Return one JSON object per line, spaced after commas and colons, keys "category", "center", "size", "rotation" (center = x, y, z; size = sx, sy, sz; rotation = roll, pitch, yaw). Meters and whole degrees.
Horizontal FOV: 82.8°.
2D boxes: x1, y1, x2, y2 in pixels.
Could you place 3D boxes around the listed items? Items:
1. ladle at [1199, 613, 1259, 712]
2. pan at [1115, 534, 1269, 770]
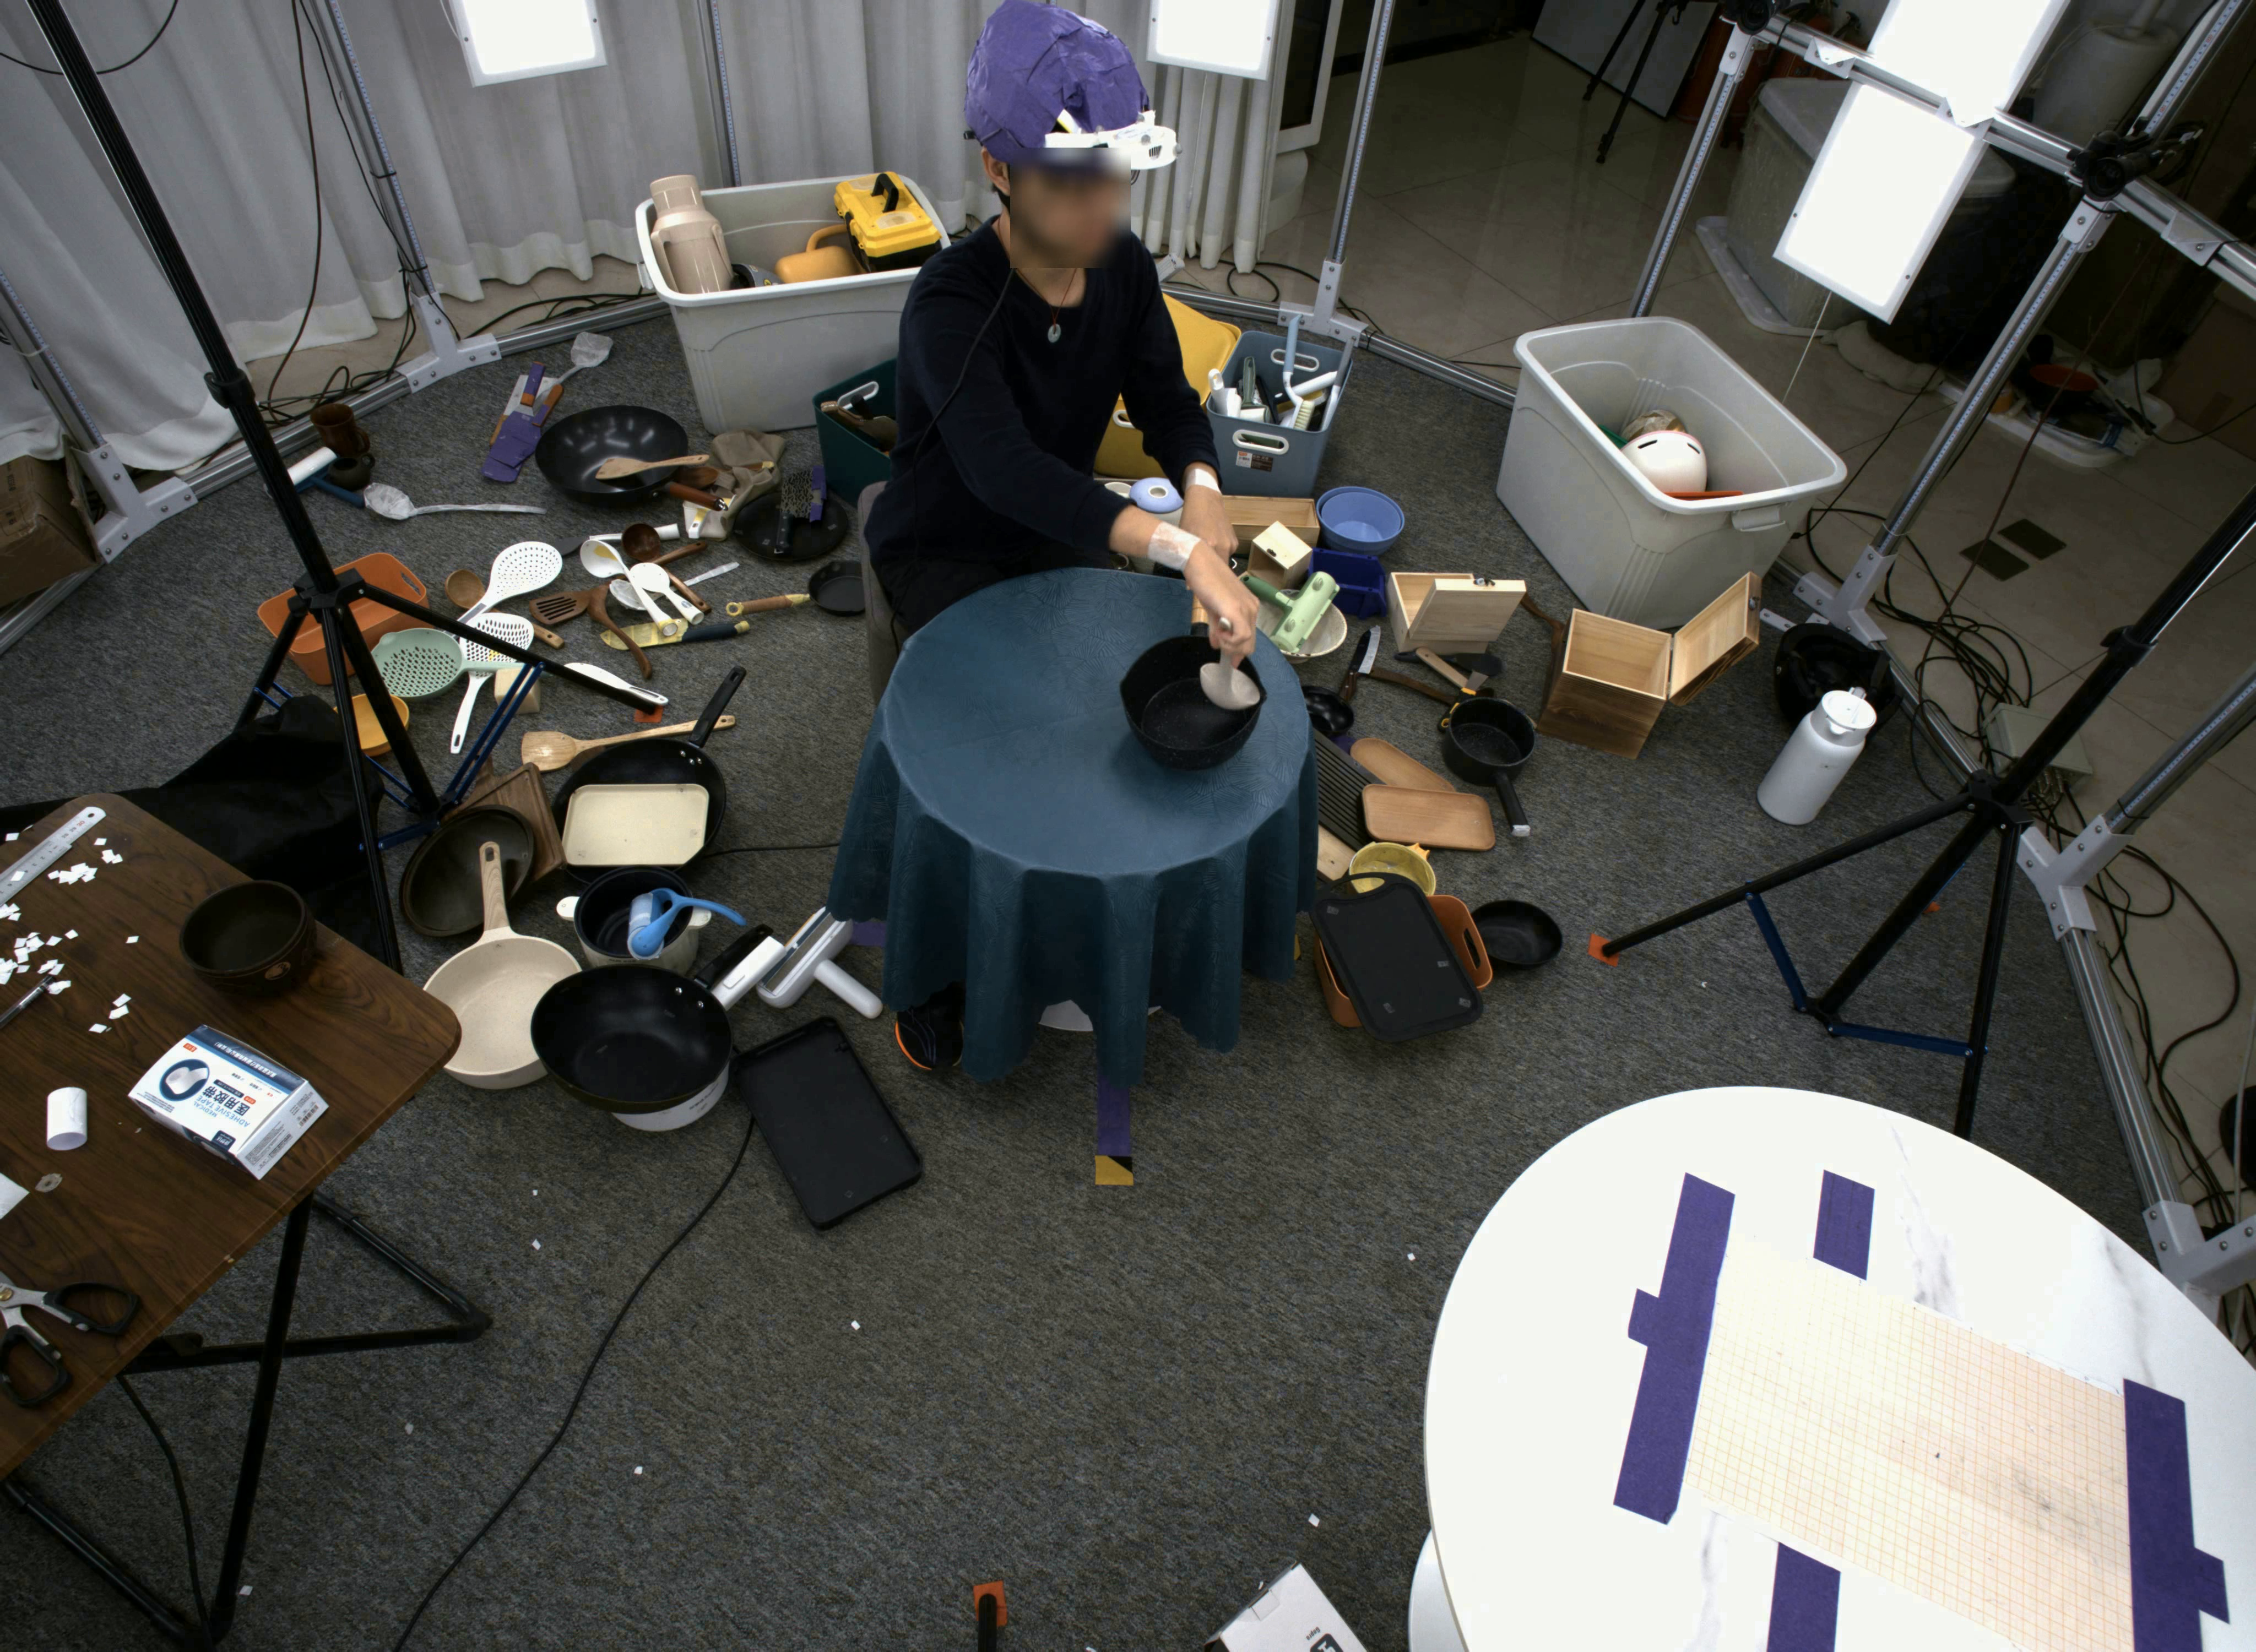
{"category": "ladle", "center": [0.133, -0.221, 1.606], "size": [0.090, 0.270, 0.070], "rotation": [39, 76, 13]}
{"category": "pan", "center": [0.093, -0.237, 1.770], "size": [0.207, 0.106, 0.350], "rotation": [2, 62, 8]}
